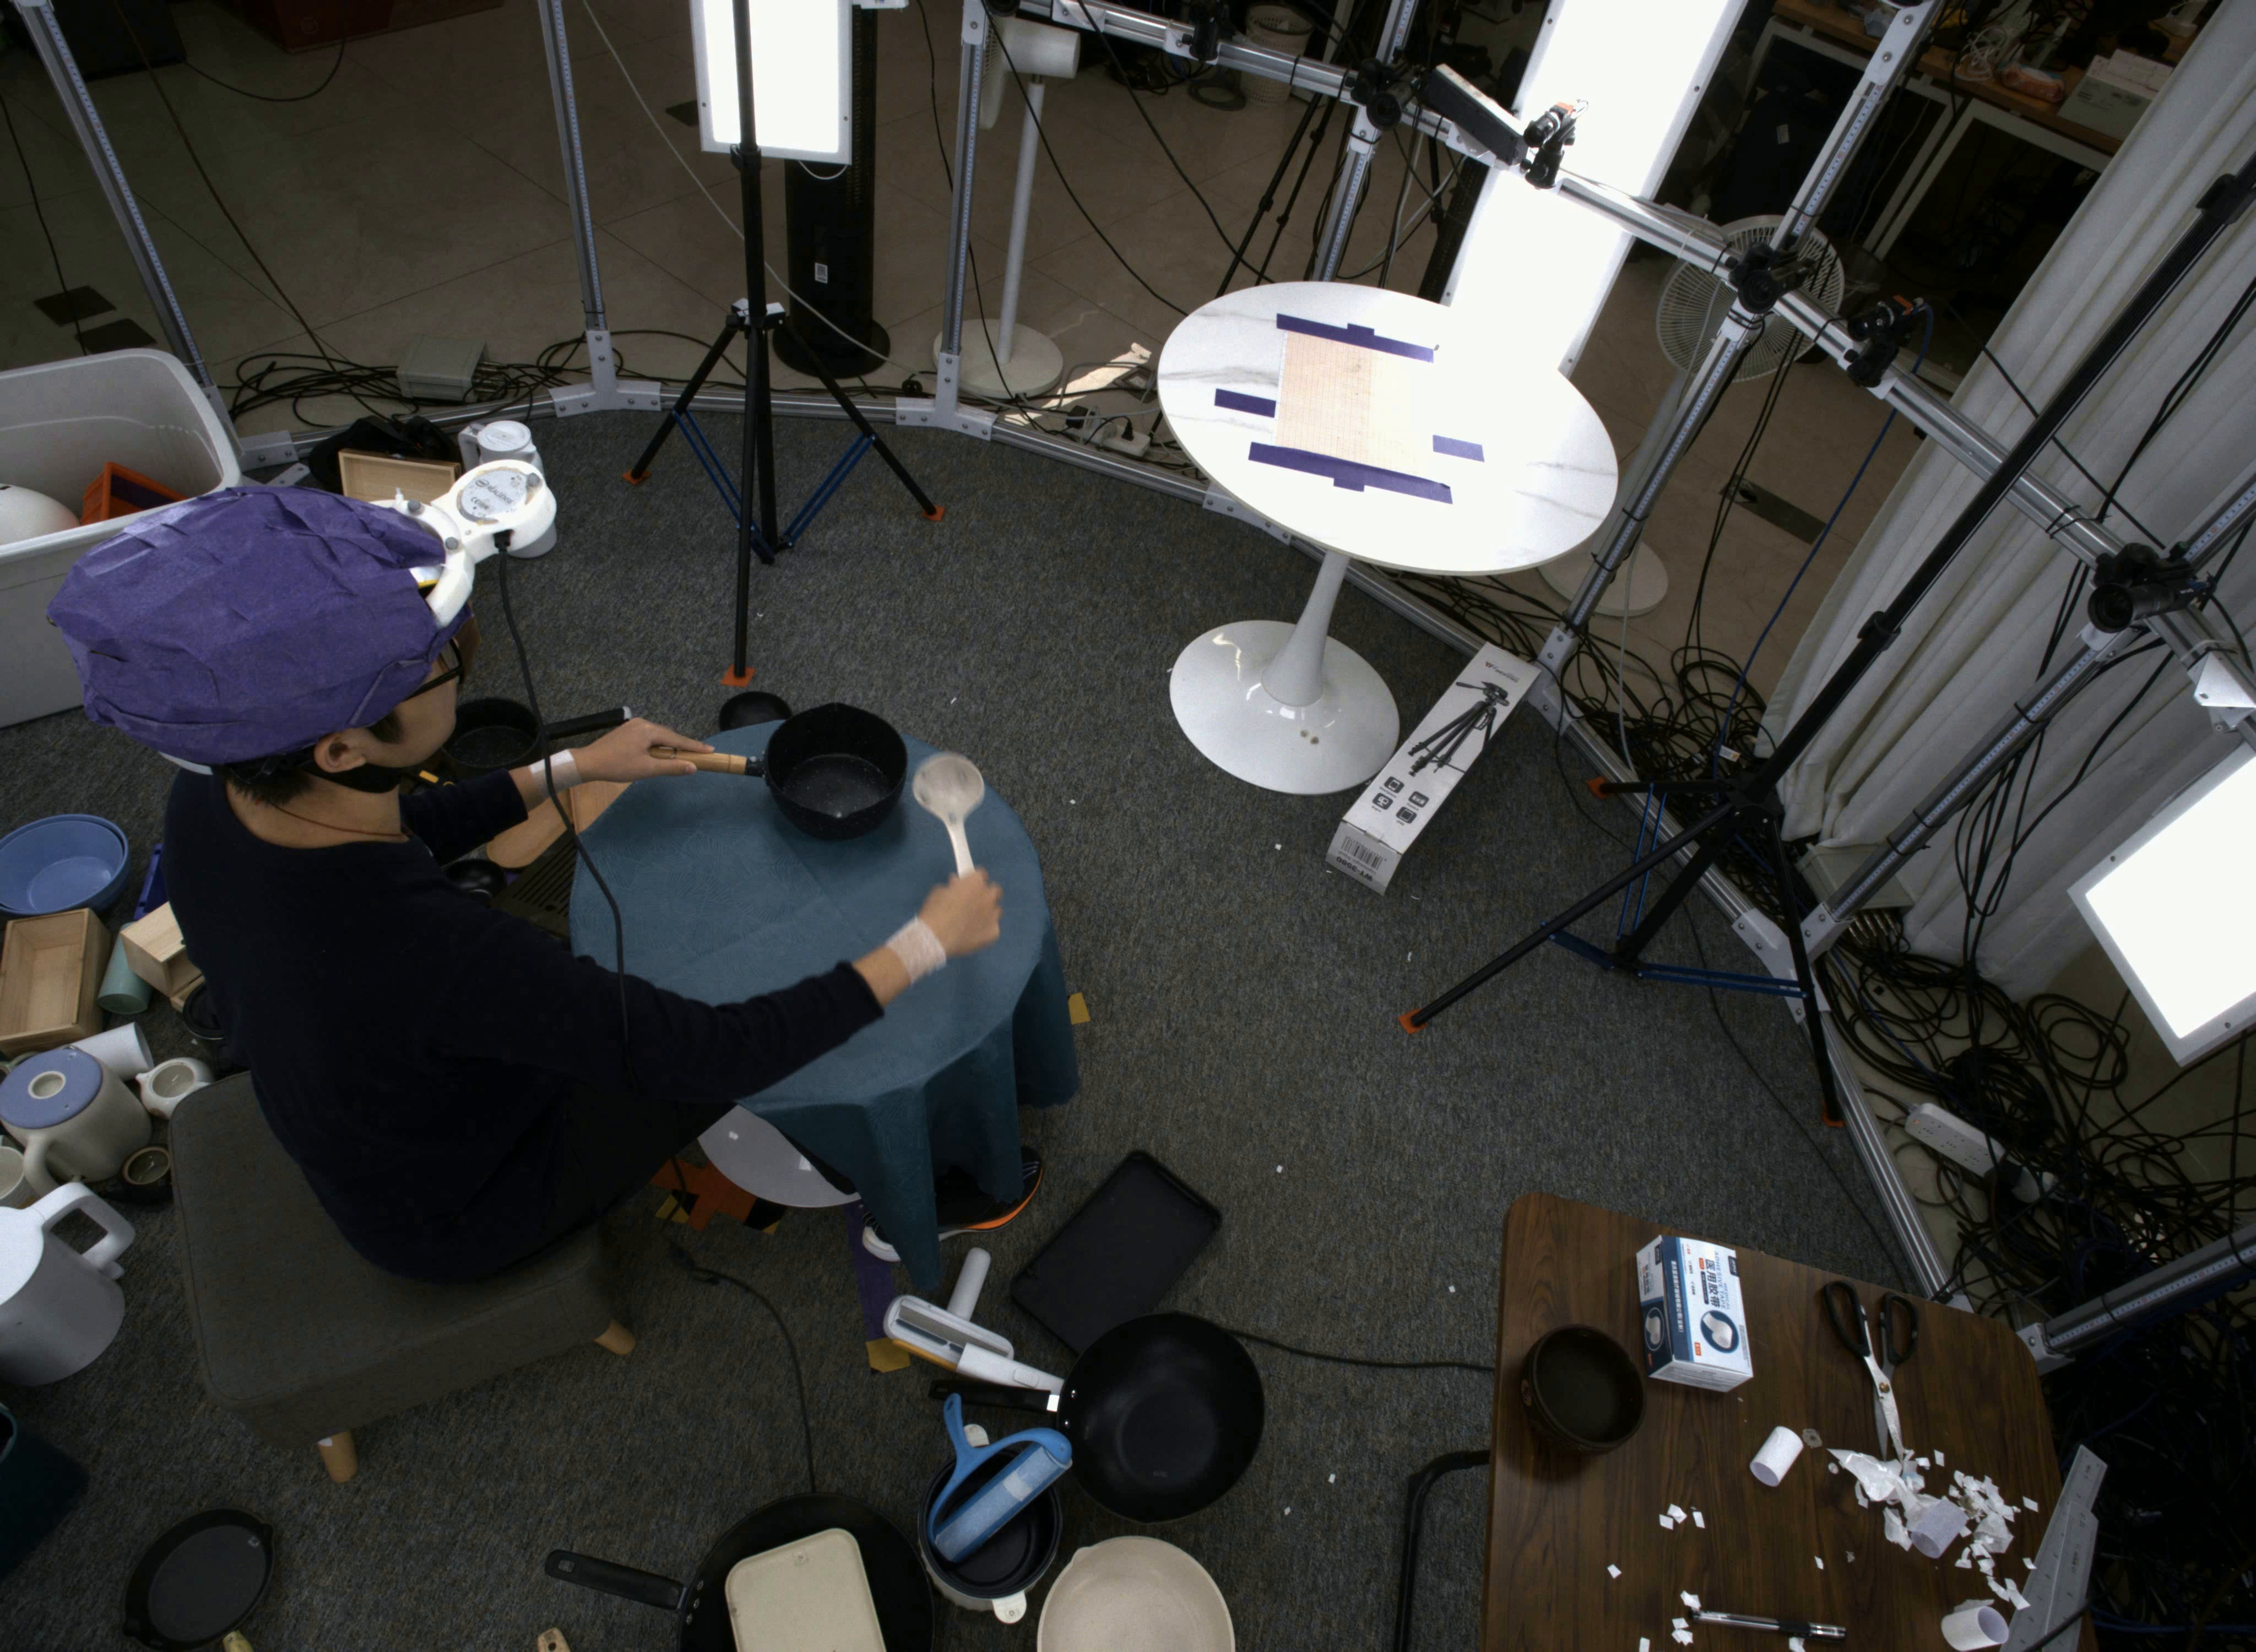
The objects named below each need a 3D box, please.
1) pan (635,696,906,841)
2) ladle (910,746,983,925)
[{"bbox_3d":[-0.463,-0.070,1.686,0.344,0.110,0.203,-2,55,-18],"label":"pan"},{"bbox_3d":[-0.204,0.004,1.569,0.090,0.071,0.266,2,36,-22],"label":"ladle"}]
